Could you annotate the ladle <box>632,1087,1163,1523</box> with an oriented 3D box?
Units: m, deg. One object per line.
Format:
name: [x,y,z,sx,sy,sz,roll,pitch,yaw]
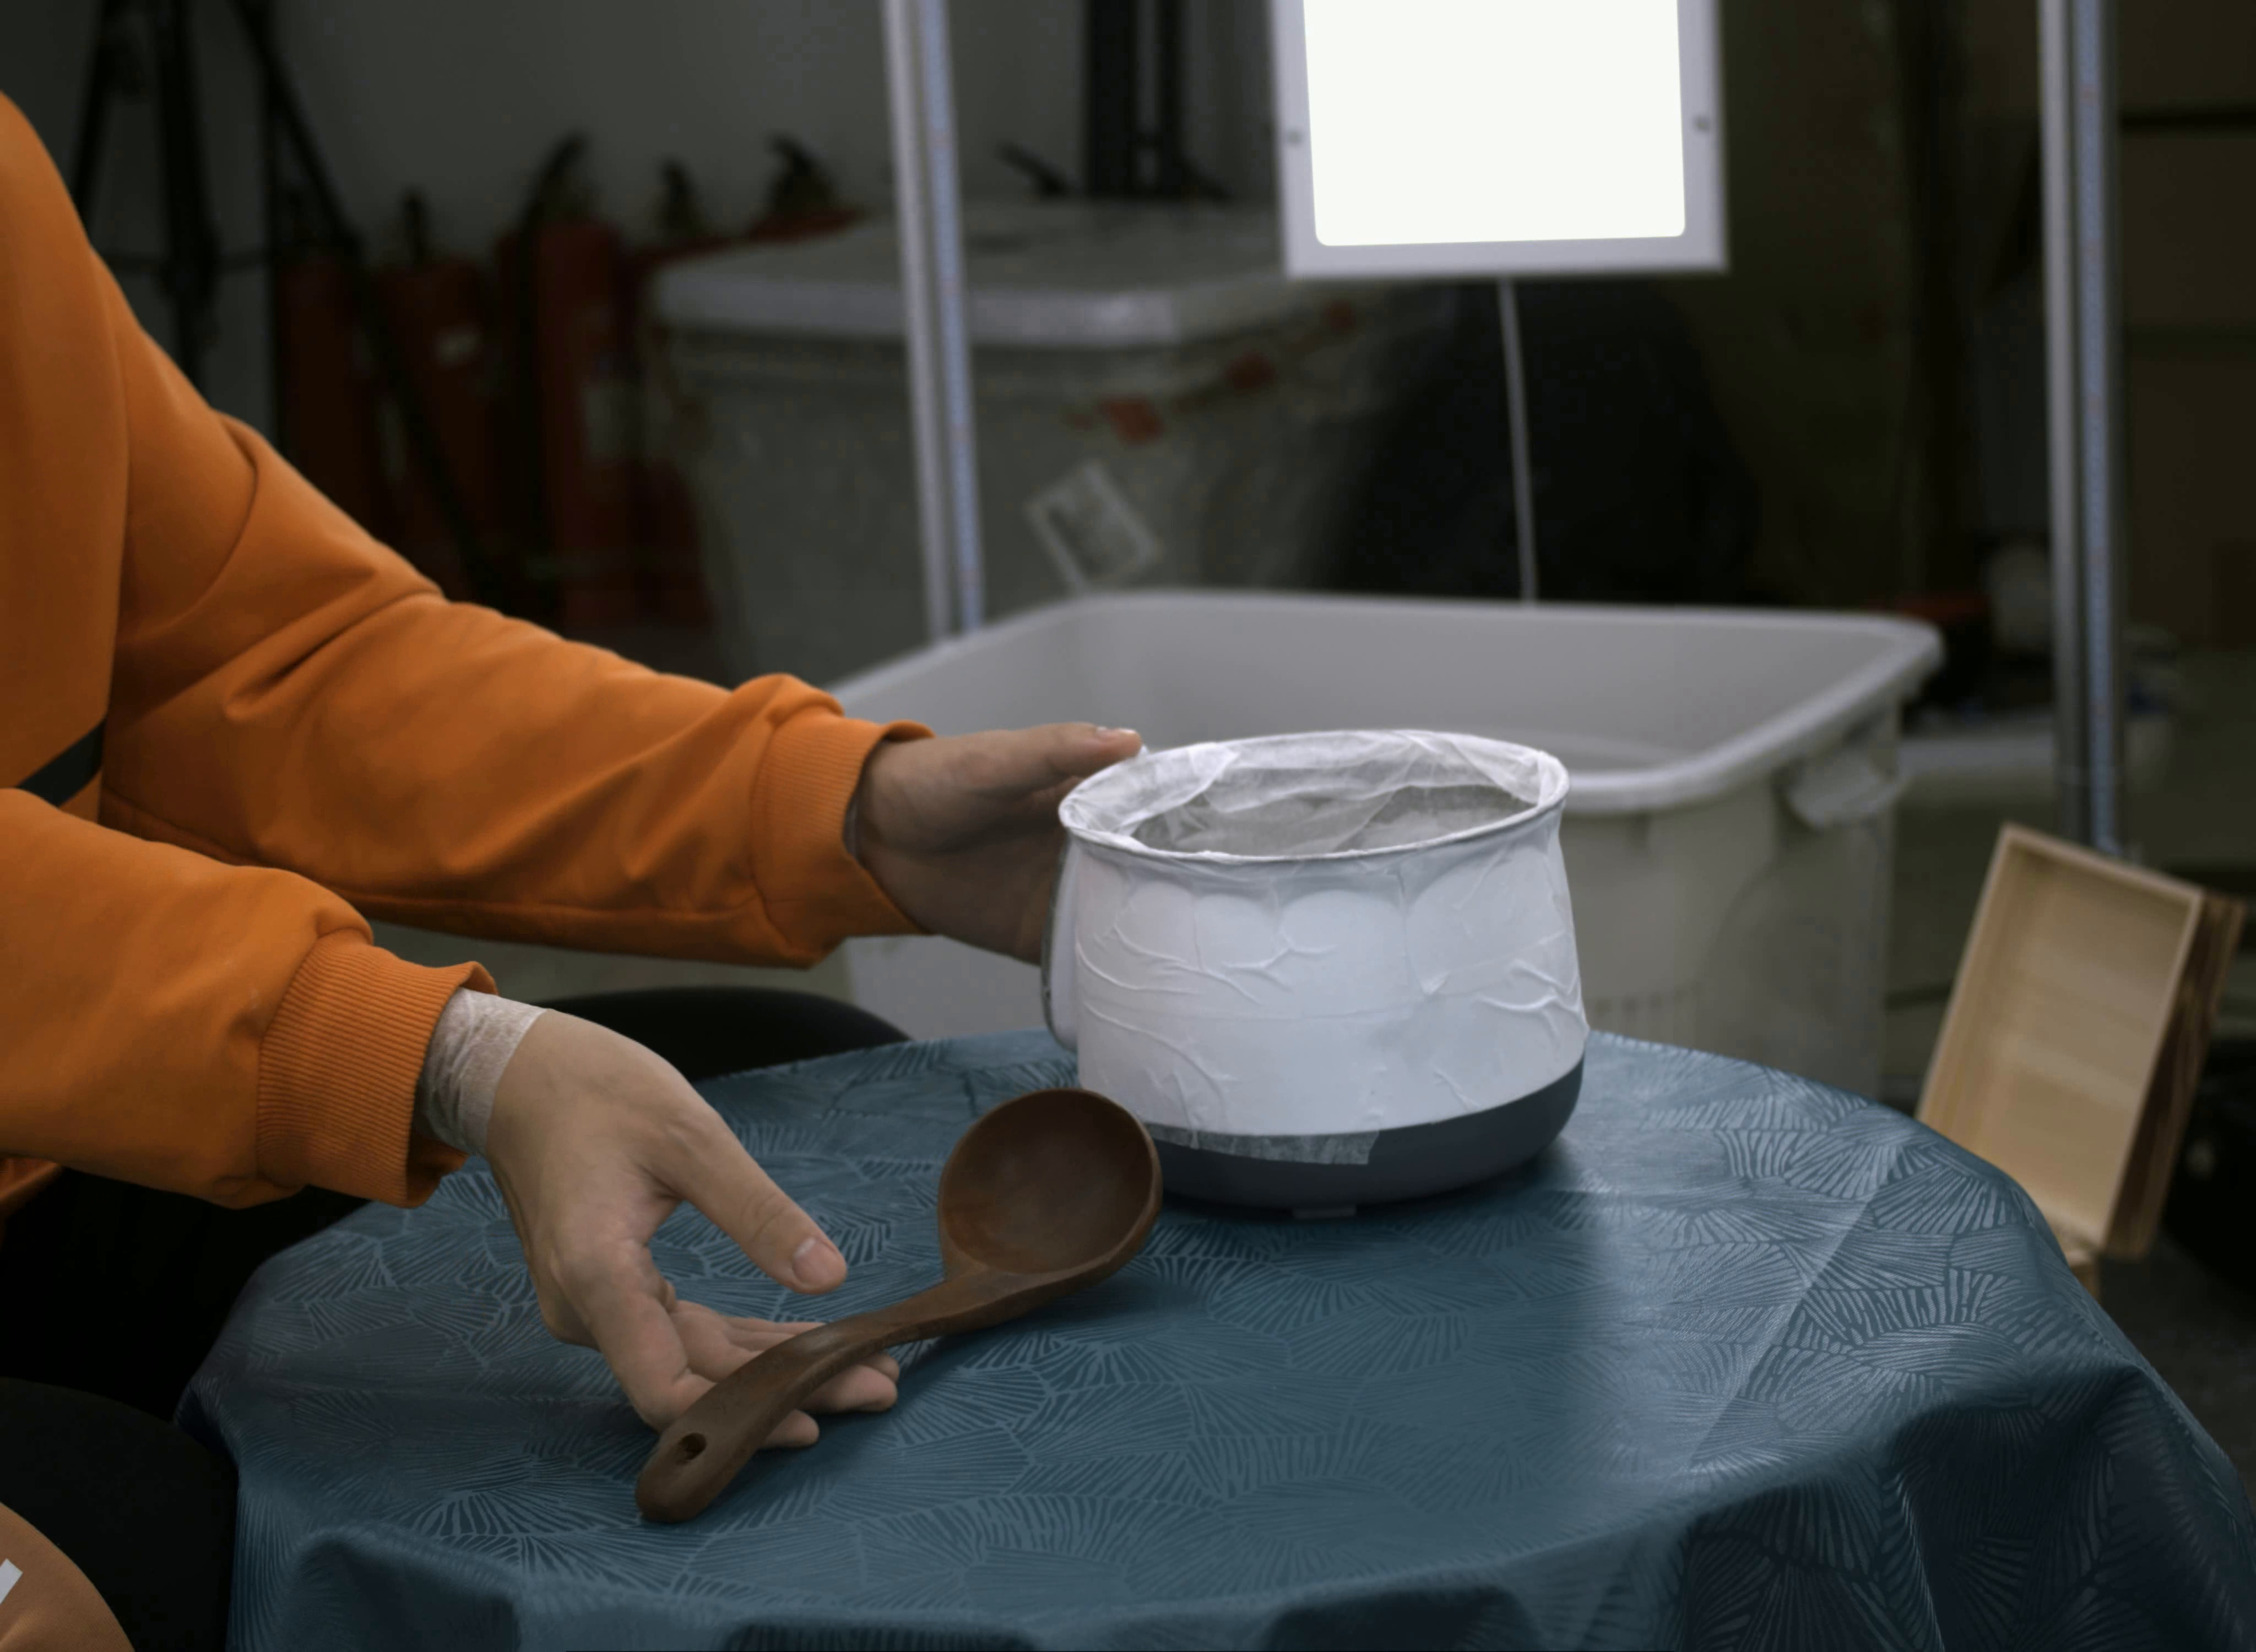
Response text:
ladle: [-0.074,0.145,1.716,0.078,0.065,0.254,11,19,30]

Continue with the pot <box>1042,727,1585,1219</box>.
pot: [0.050,0.045,1.921,0.174,0.137,0.238,-15,17,-38]
